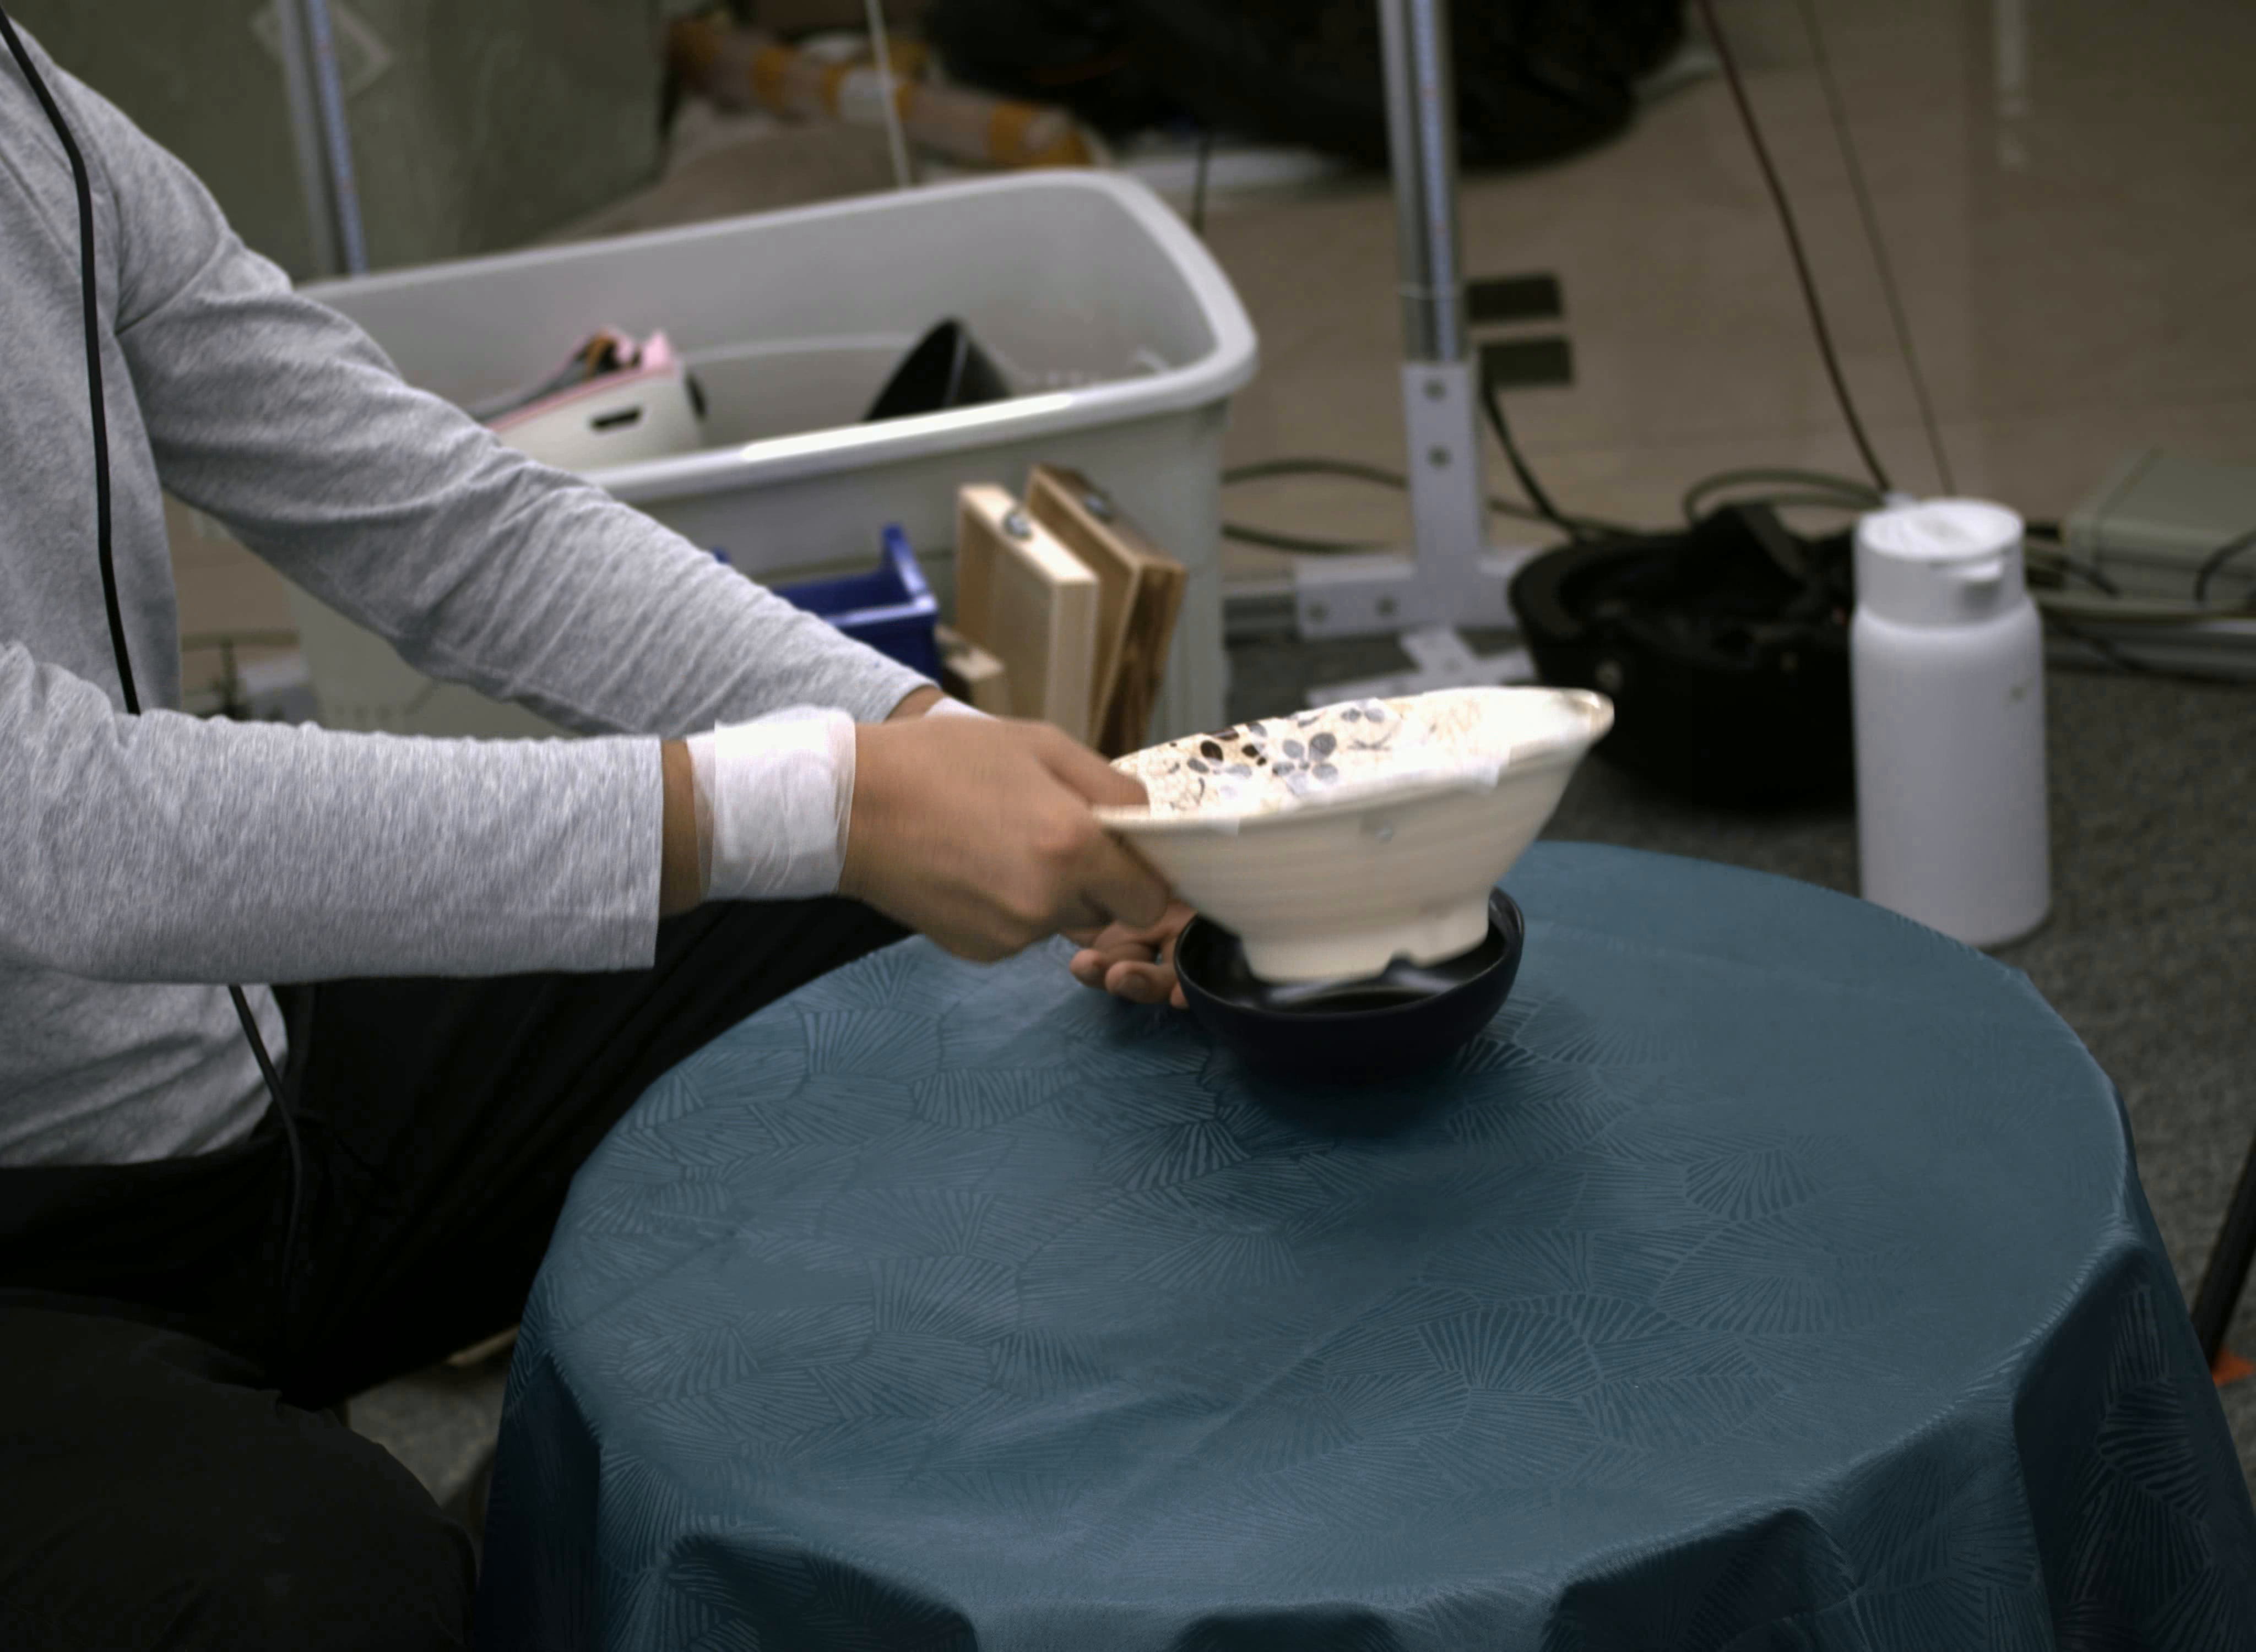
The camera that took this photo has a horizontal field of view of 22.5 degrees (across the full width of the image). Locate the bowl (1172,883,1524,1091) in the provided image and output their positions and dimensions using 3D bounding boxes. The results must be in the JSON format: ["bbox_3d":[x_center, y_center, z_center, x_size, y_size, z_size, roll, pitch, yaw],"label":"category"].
[{"bbox_3d":[0.089,0.067,2.231,0.140,0.050,0.138,-8,22,4],"label":"bowl"}]

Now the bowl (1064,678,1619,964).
[{"bbox_3d":[0.083,0.003,2.055,0.204,0.078,0.203,-10,8,2],"label":"bowl"}]
